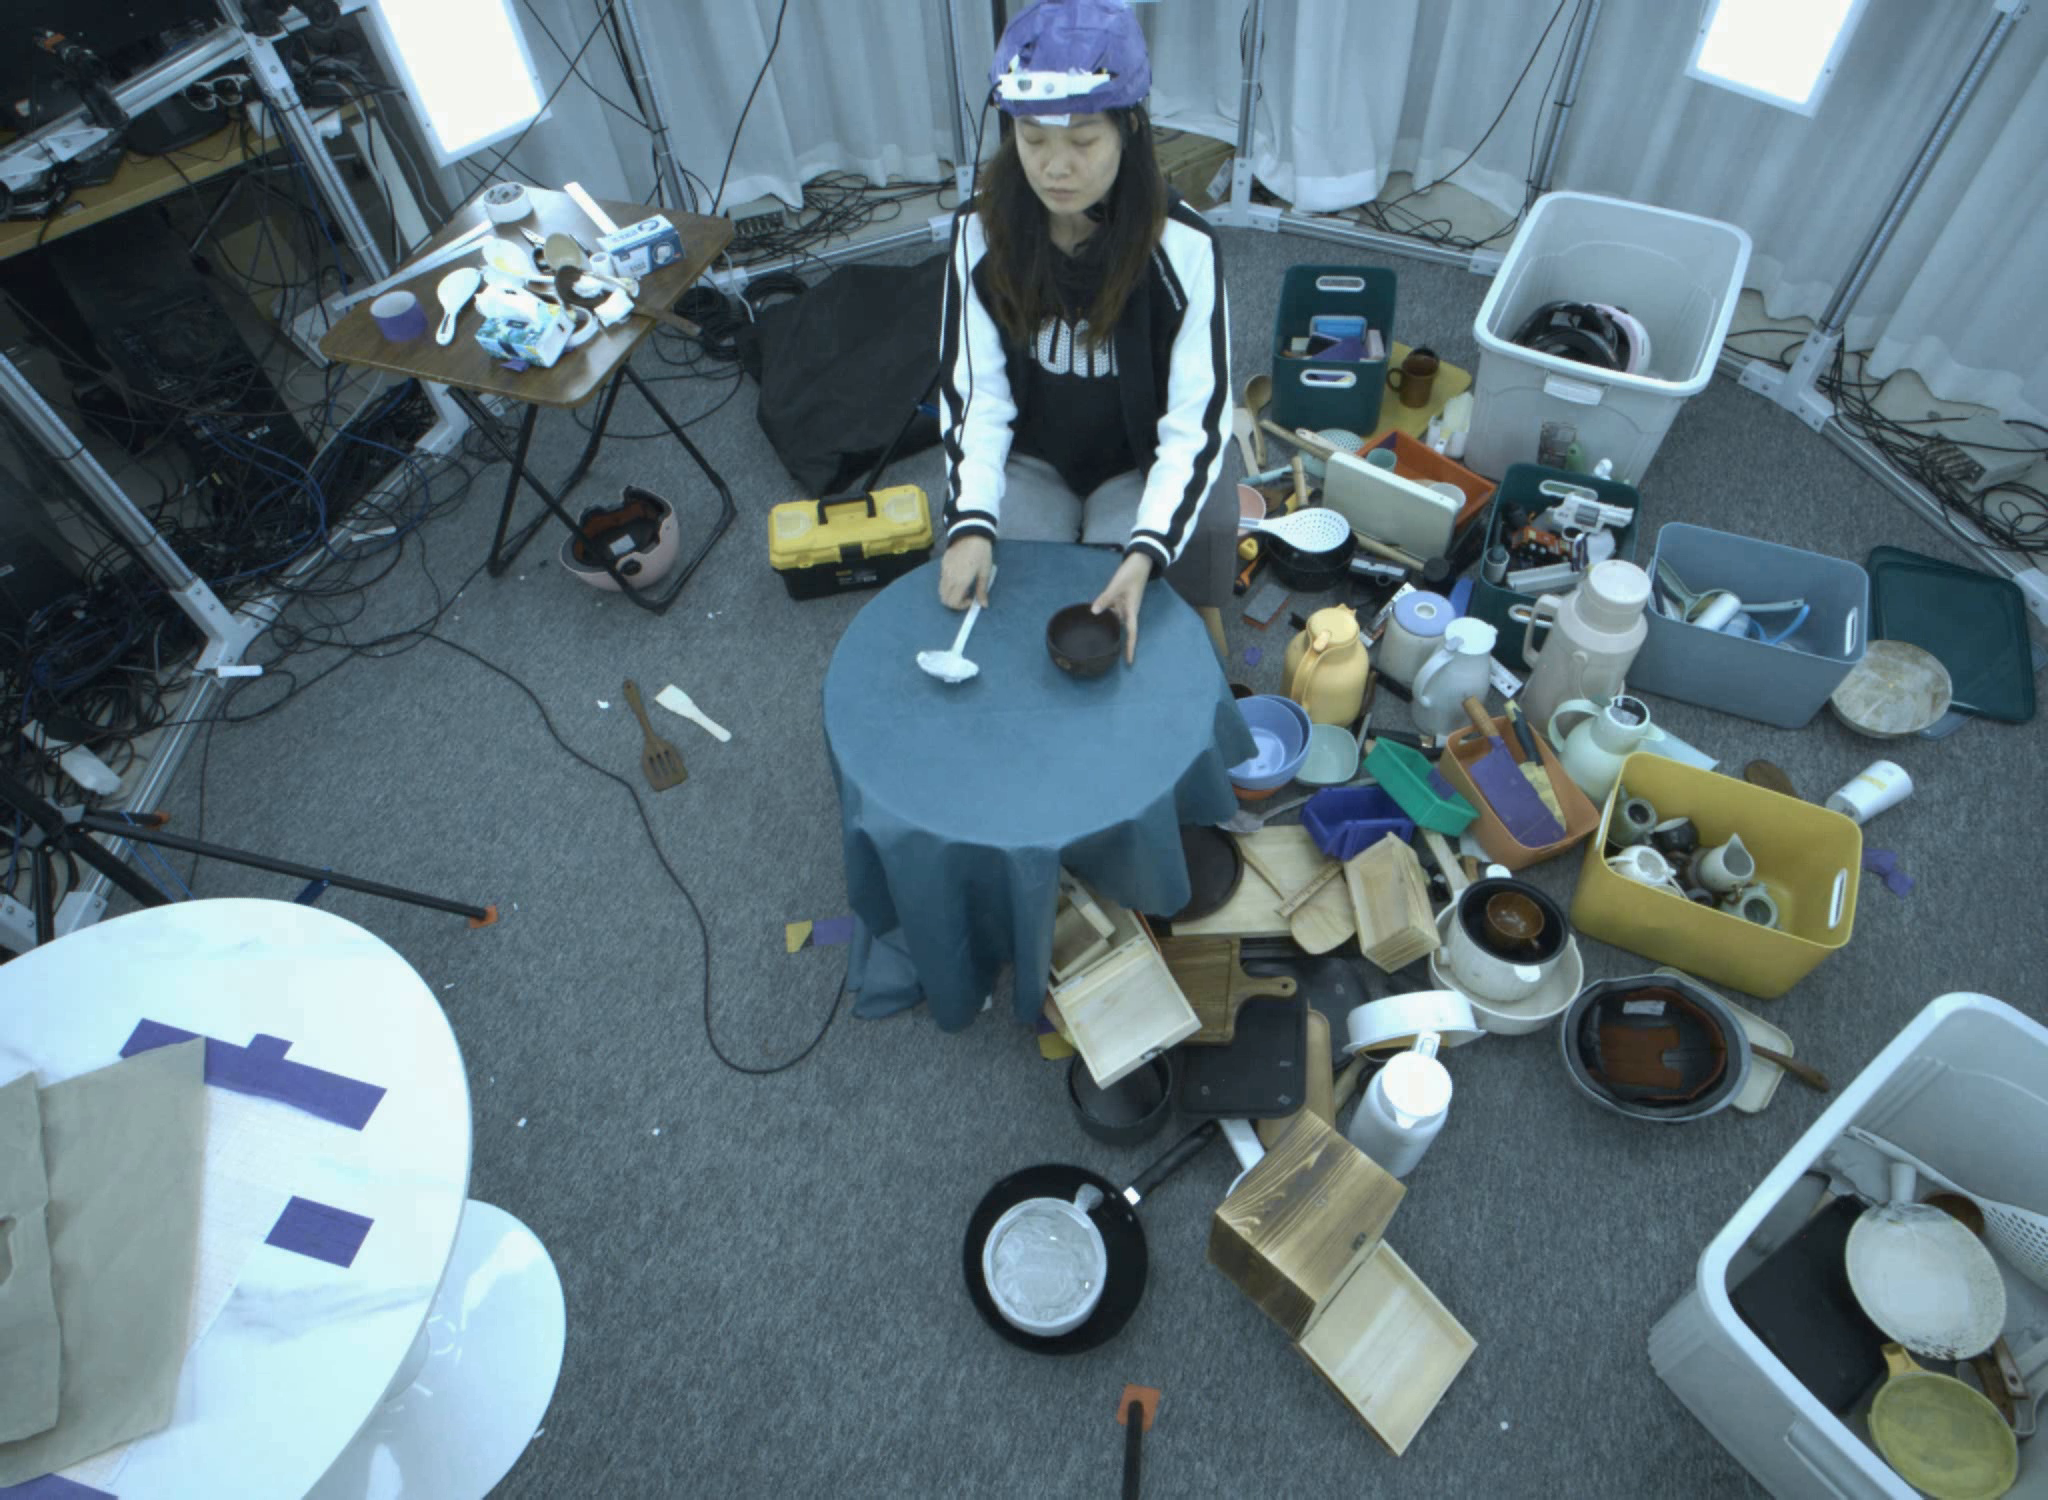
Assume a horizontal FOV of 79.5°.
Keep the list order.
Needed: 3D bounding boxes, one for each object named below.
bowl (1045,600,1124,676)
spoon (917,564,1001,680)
[{"bbox_3d":[0.091,-0.160,1.853,0.118,0.070,0.117,0,55,2],"label":"bowl"},{"bbox_3d":[-0.081,-0.207,1.901,0.100,0.059,0.277,20,58,5],"label":"spoon"}]
